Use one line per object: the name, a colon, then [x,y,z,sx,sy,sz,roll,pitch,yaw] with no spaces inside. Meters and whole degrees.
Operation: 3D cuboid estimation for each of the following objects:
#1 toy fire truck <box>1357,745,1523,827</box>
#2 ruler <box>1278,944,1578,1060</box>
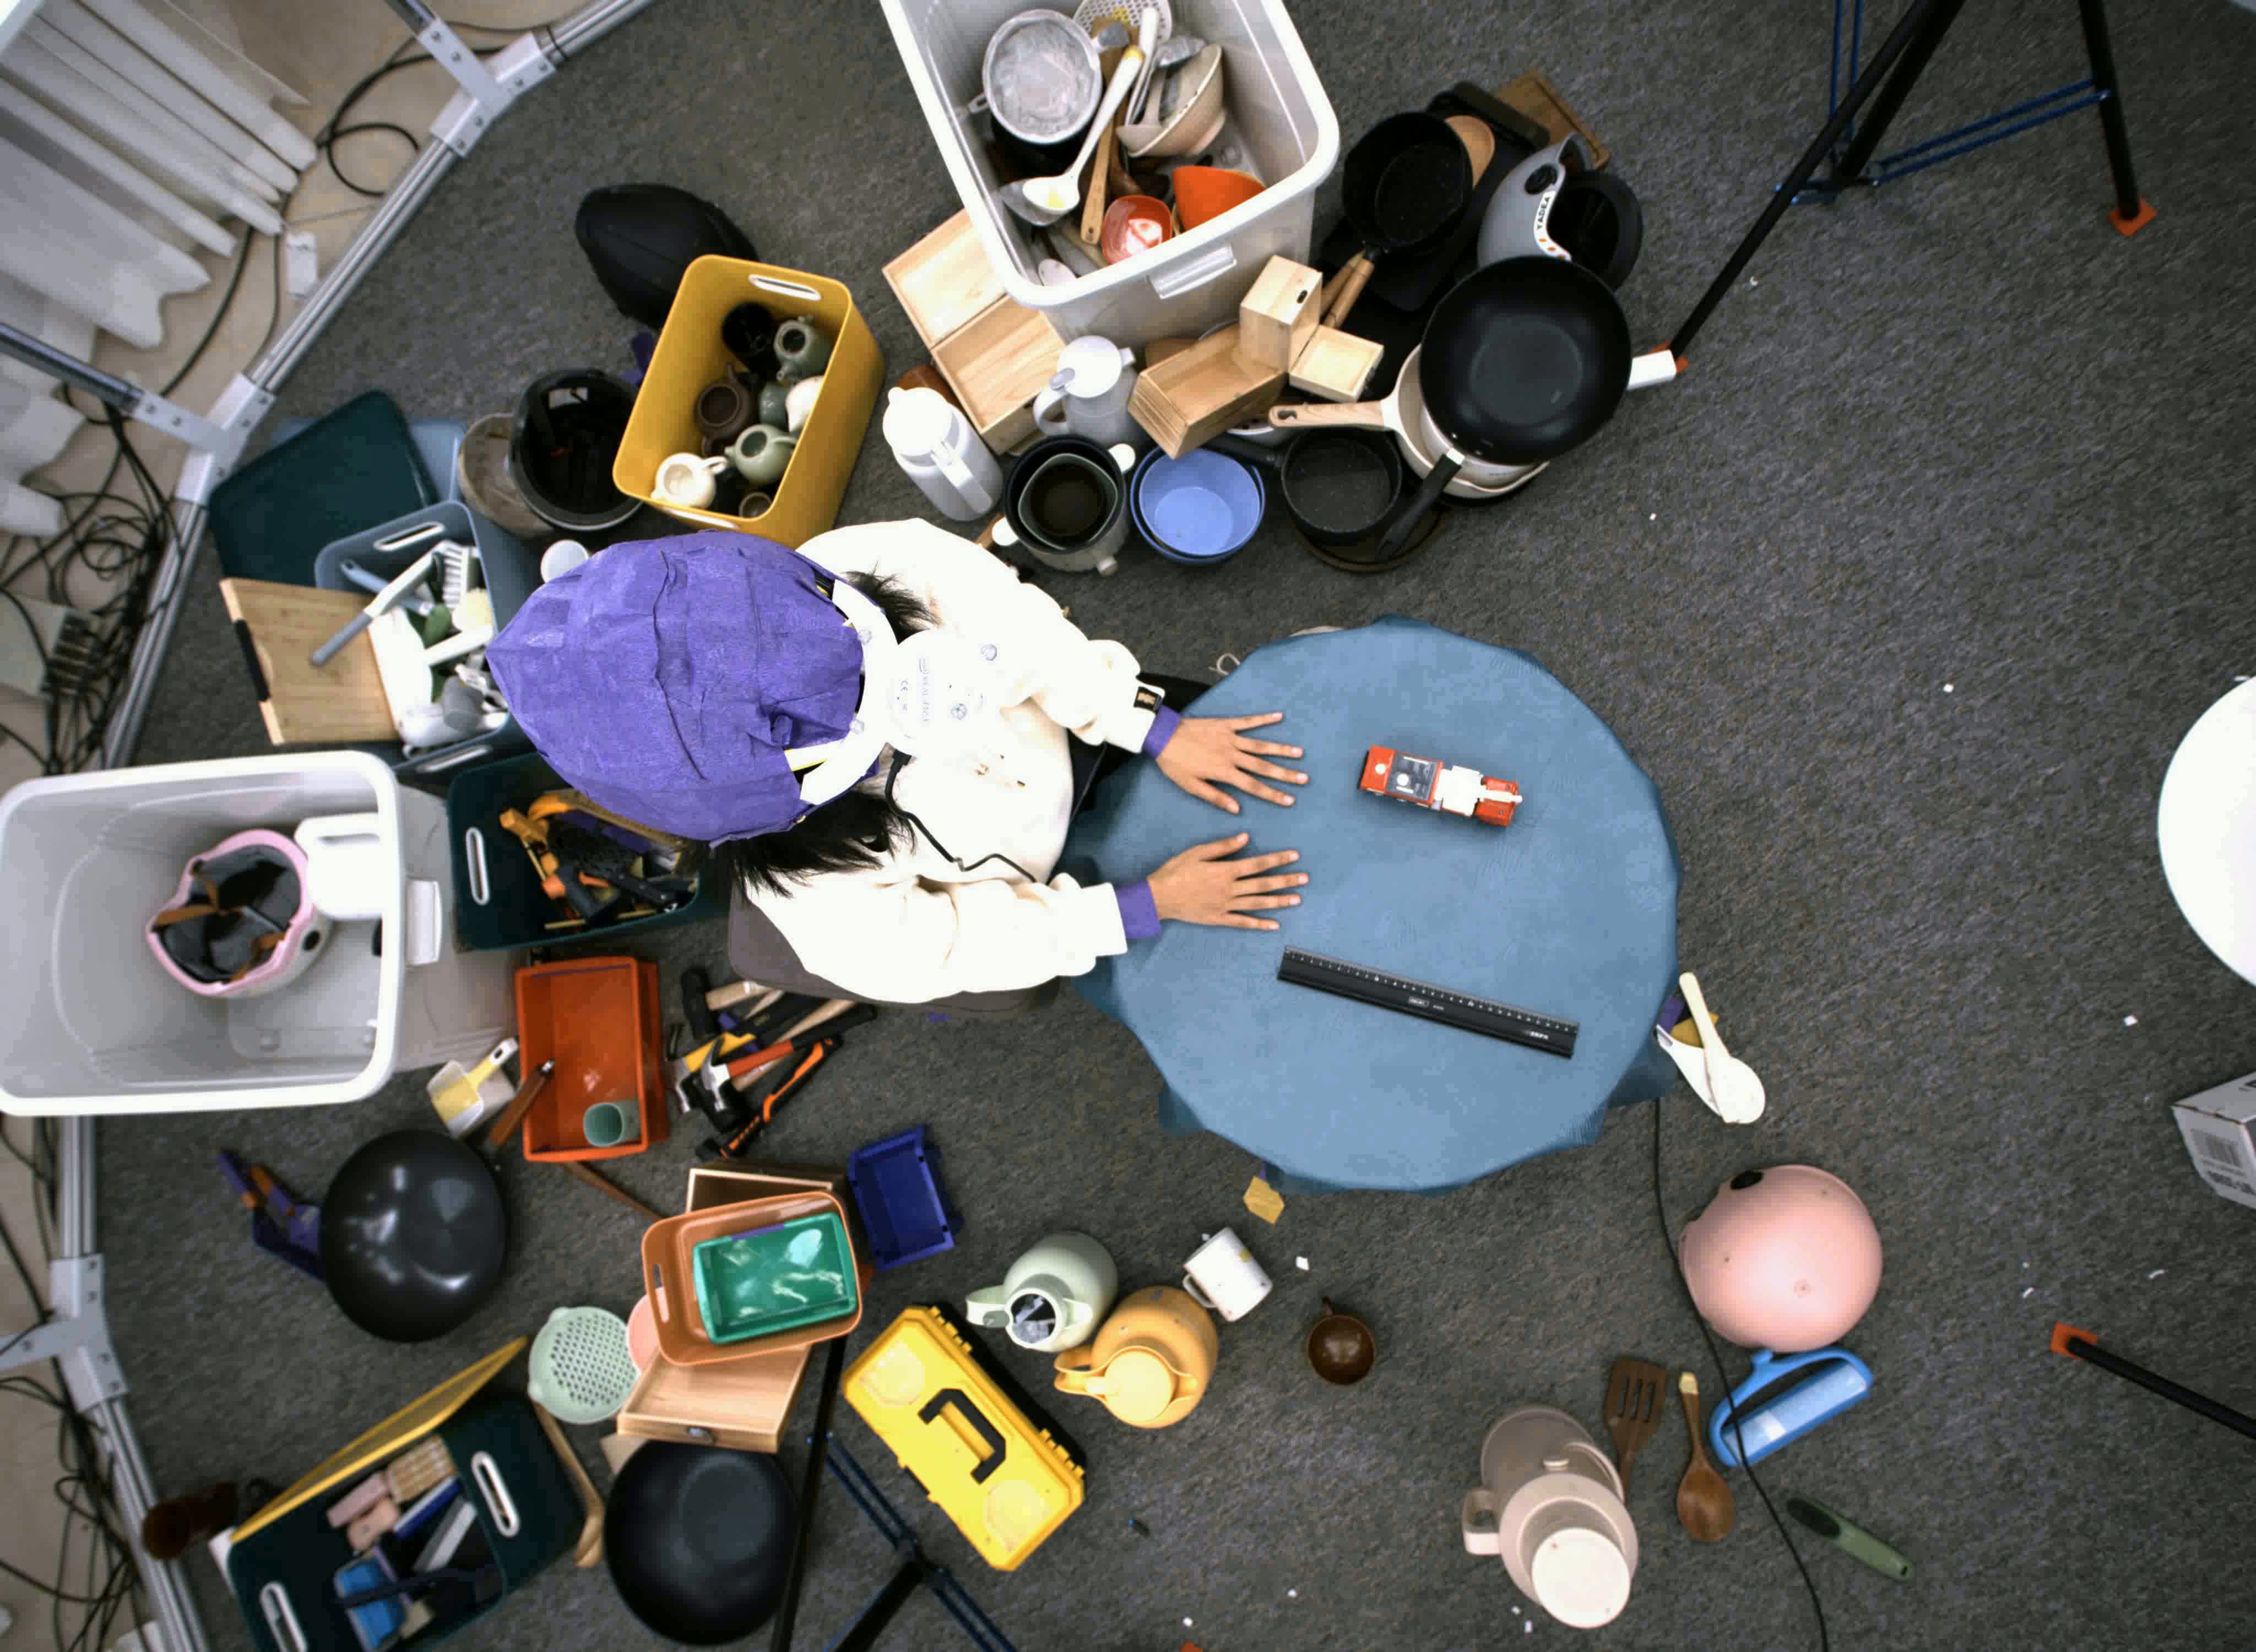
toy fire truck: [0.324,-0.043,1.427,0.168,0.070,0.054,15,88,12]
ruler: [0.311,0.181,1.438,0.313,0.017,0.039,15,86,11]
